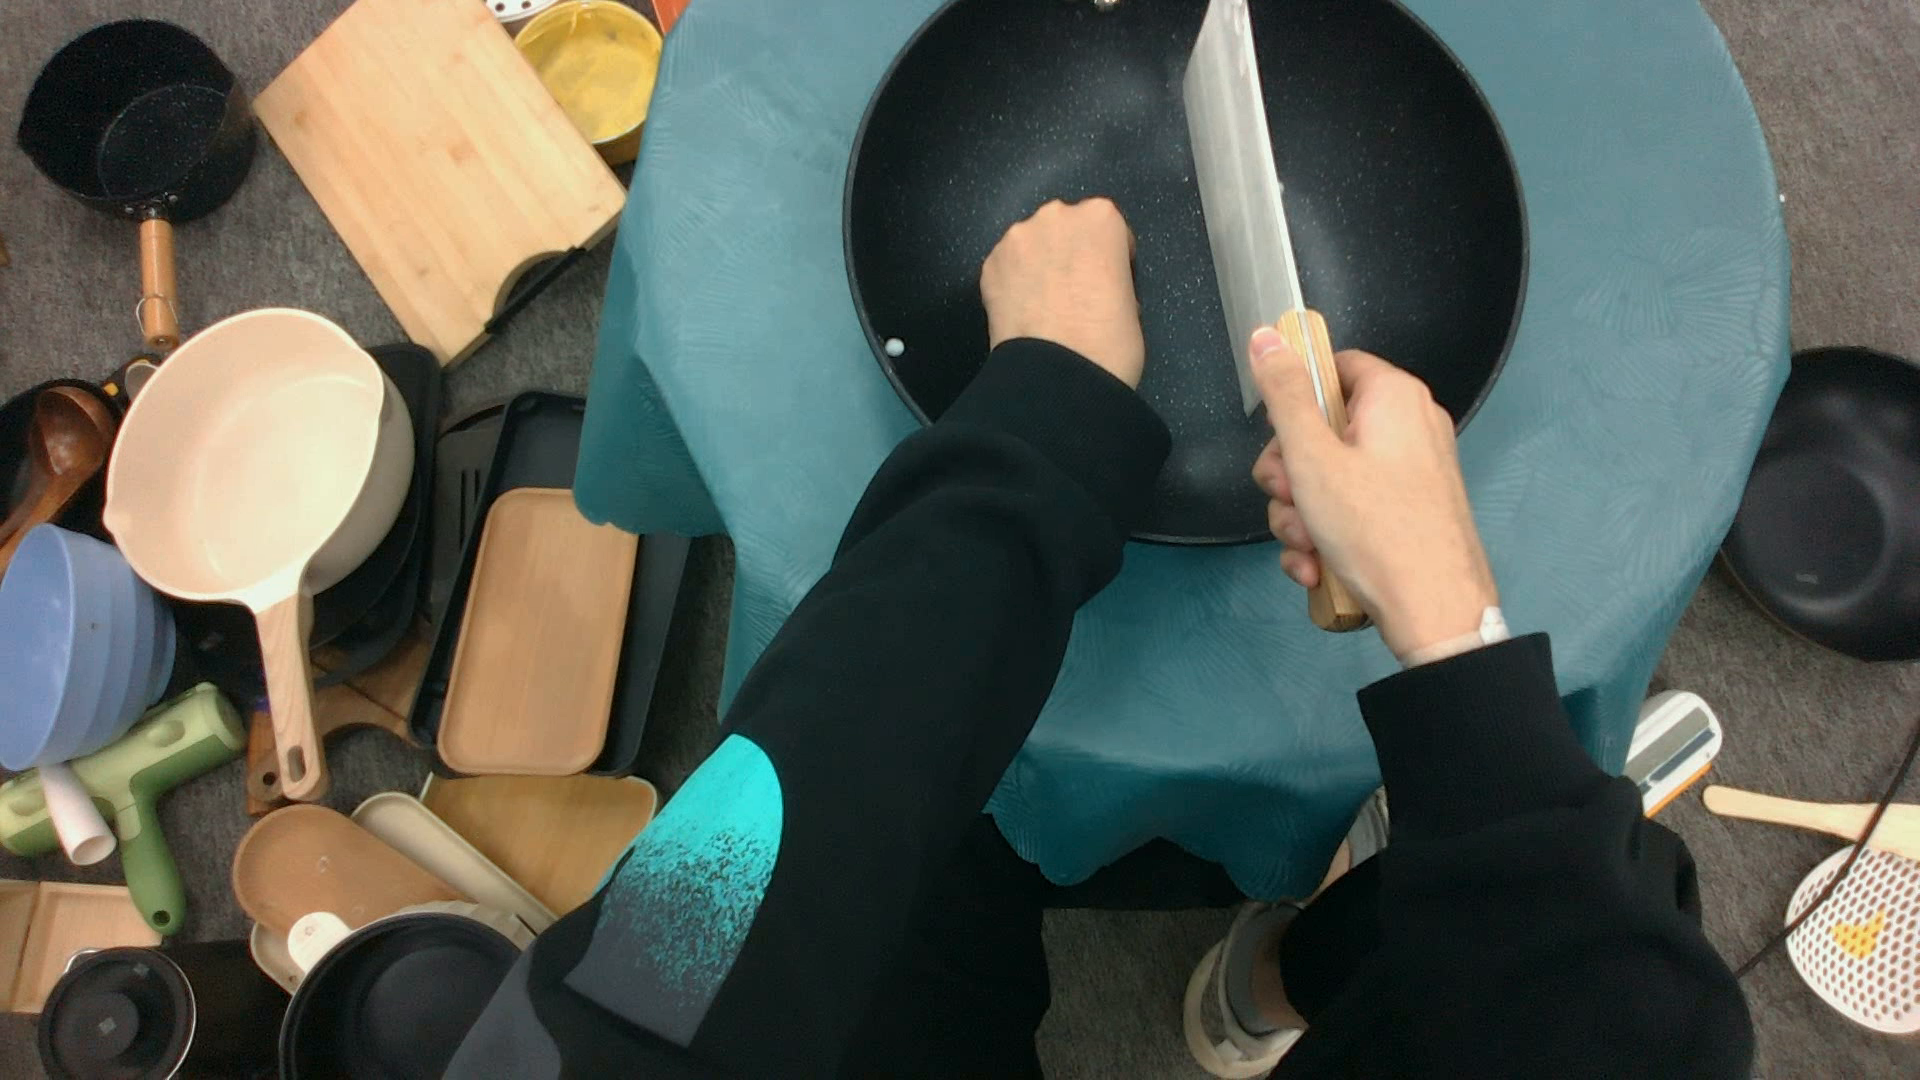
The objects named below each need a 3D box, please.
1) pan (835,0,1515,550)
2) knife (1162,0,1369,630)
[{"bbox_3d":[0.080,-0.218,0.668,0.310,0.111,0.477,-11,76,-6],"label":"pan"},{"bbox_3d":[0.124,-0.111,0.589,0.022,0.113,0.316,-5,67,-7],"label":"knife"}]
